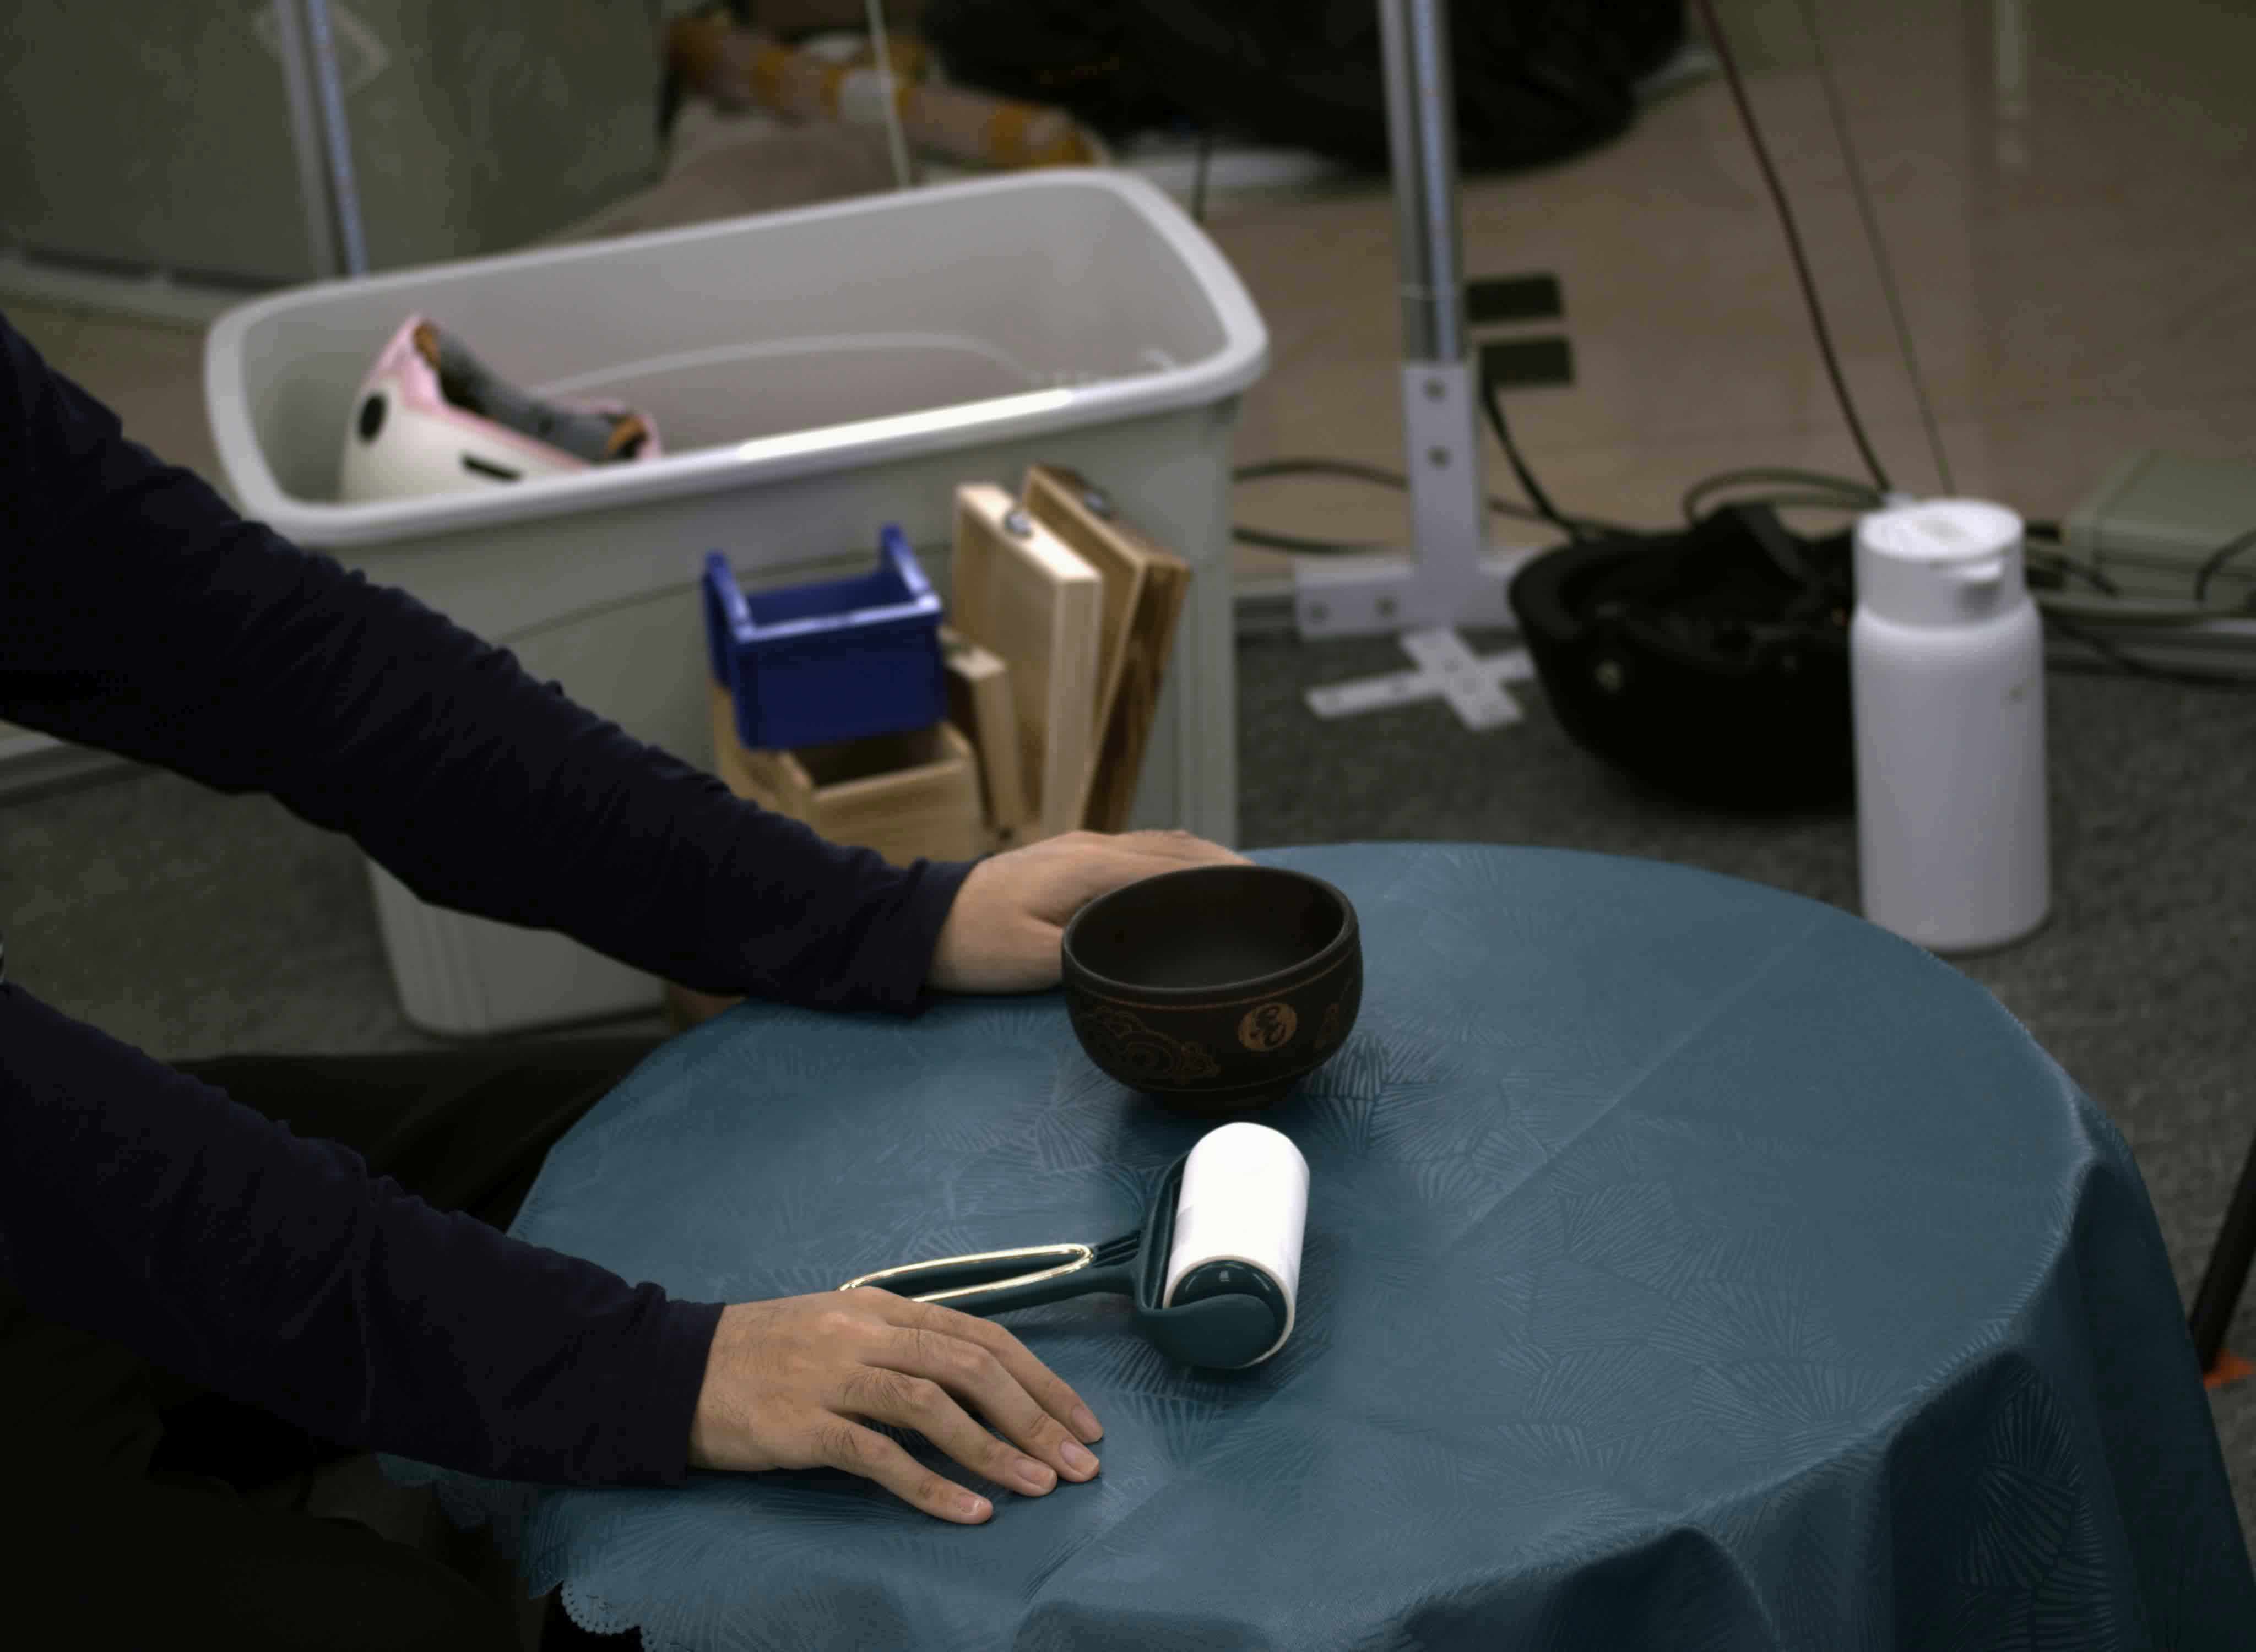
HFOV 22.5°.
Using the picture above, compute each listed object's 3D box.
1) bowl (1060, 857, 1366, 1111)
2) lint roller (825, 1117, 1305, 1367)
[{"bbox_3d":[0.035,0.068,2.210,0.118,0.071,0.116,-7,27,4],"label":"bowl"},{"bbox_3d":[-0.026,0.159,2.067,0.180,0.049,0.132,-6,25,8],"label":"lint roller"}]
